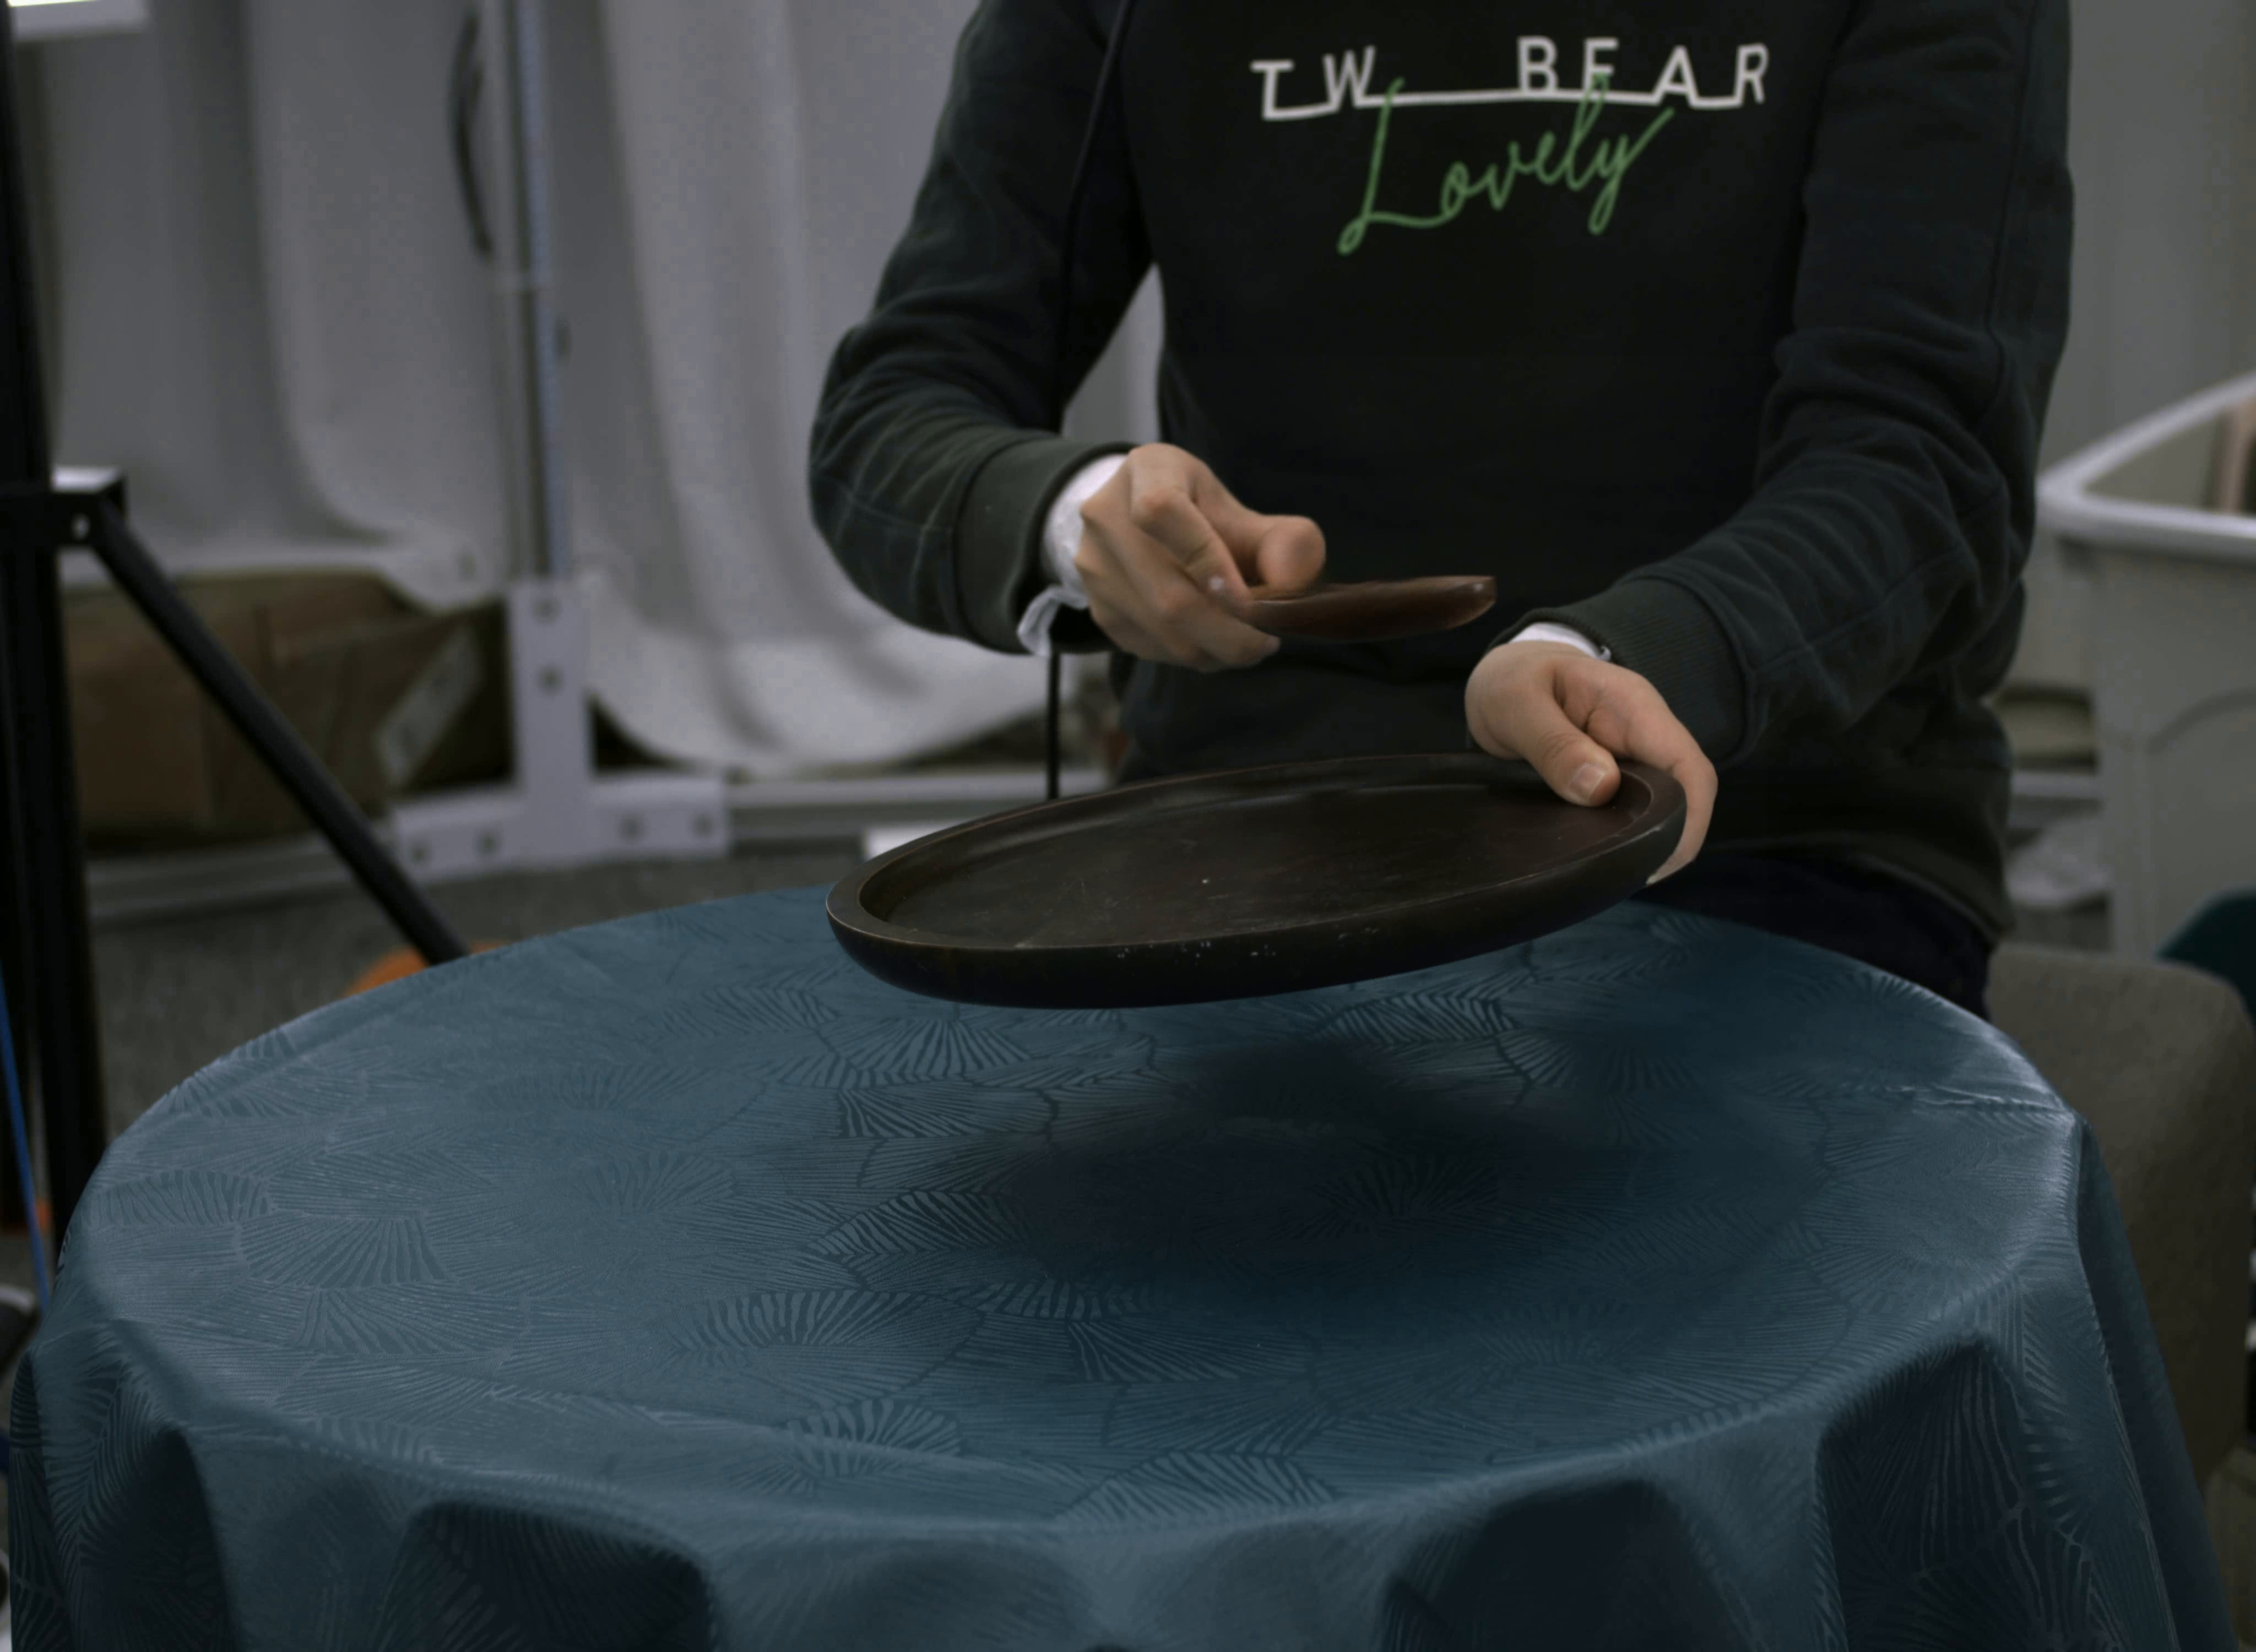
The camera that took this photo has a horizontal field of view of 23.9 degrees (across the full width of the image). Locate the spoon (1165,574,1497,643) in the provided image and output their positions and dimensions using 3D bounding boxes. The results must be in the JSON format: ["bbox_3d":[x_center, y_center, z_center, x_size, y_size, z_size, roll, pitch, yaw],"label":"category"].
[{"bbox_3d":[0.054,-0.068,1.655,0.074,0.017,0.218,-7,5,-16],"label":"spoon"}]

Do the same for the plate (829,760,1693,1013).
[{"bbox_3d":[0.039,0.015,1.546,0.253,0.029,0.256,-7,12,0],"label":"plate"}]
